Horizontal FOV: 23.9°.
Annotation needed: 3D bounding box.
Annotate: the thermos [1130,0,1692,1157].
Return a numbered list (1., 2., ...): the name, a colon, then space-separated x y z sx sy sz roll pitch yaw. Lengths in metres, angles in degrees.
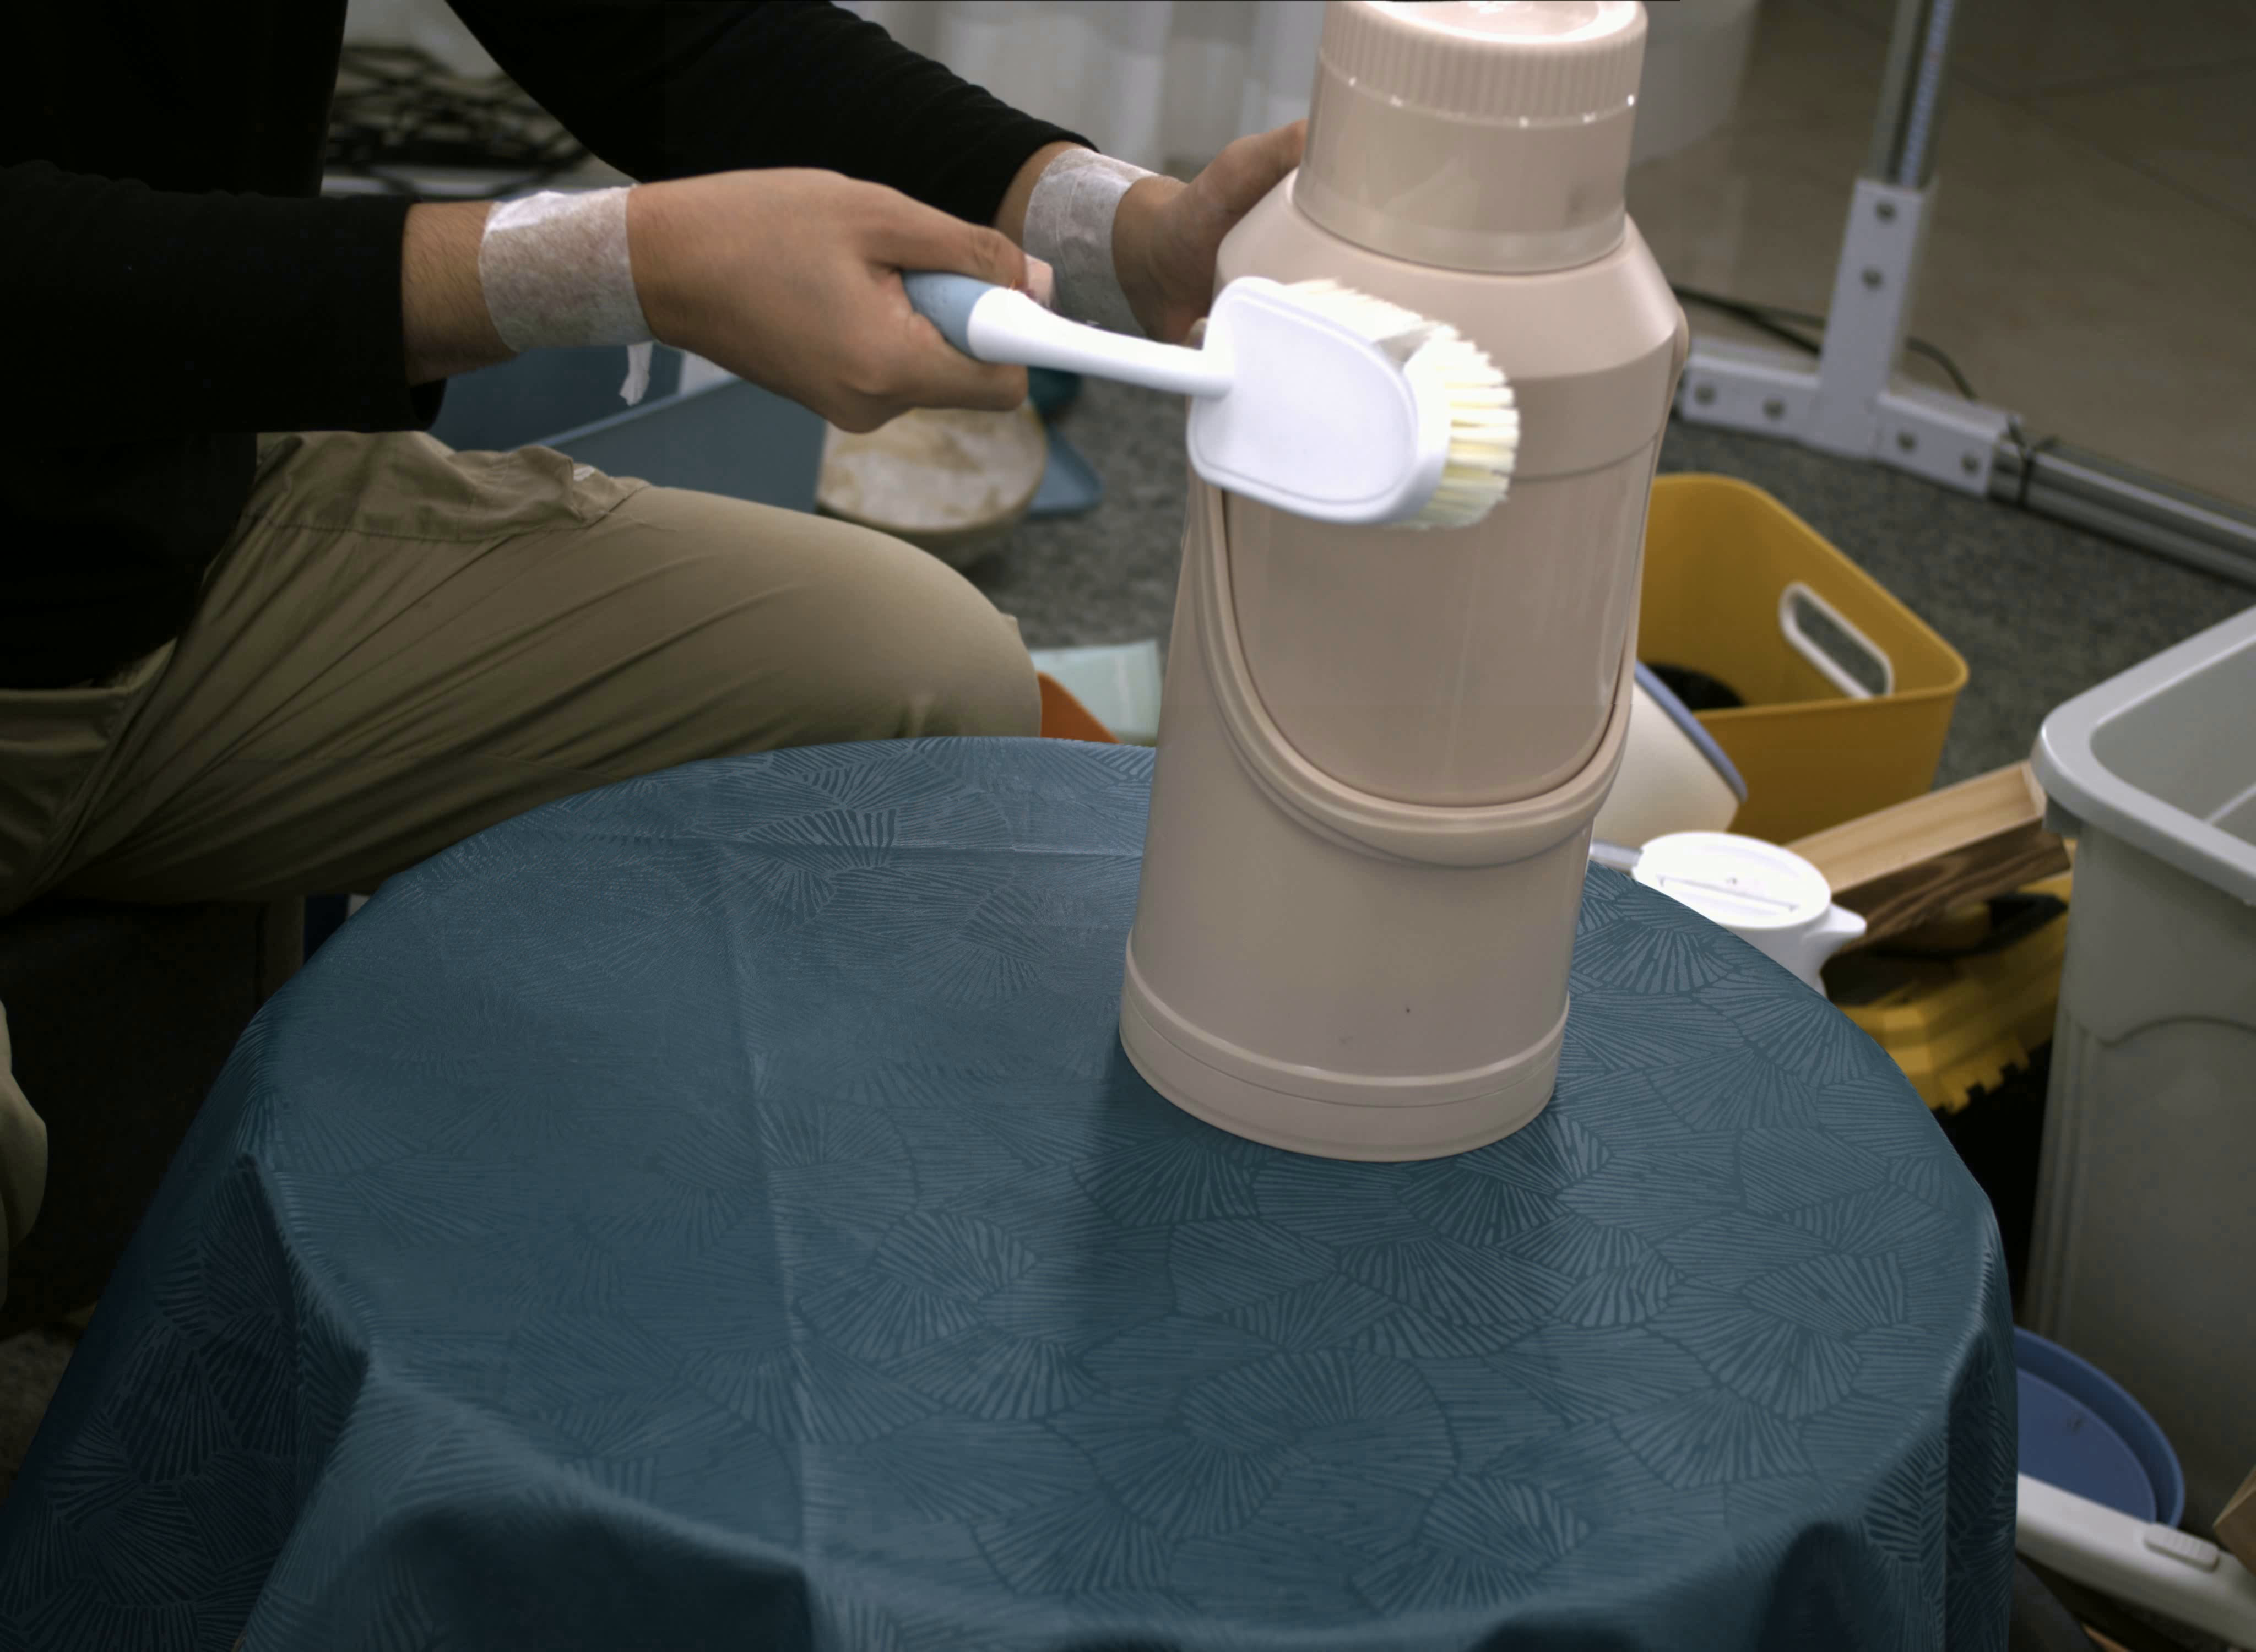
1. thermos: 0.094 -0.103 1.831 0.174 0.405 0.209 -6 30 -21

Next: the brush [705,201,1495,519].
1. brush: -0.004 -0.164 1.733 0.328 0.084 0.083 21 68 39
